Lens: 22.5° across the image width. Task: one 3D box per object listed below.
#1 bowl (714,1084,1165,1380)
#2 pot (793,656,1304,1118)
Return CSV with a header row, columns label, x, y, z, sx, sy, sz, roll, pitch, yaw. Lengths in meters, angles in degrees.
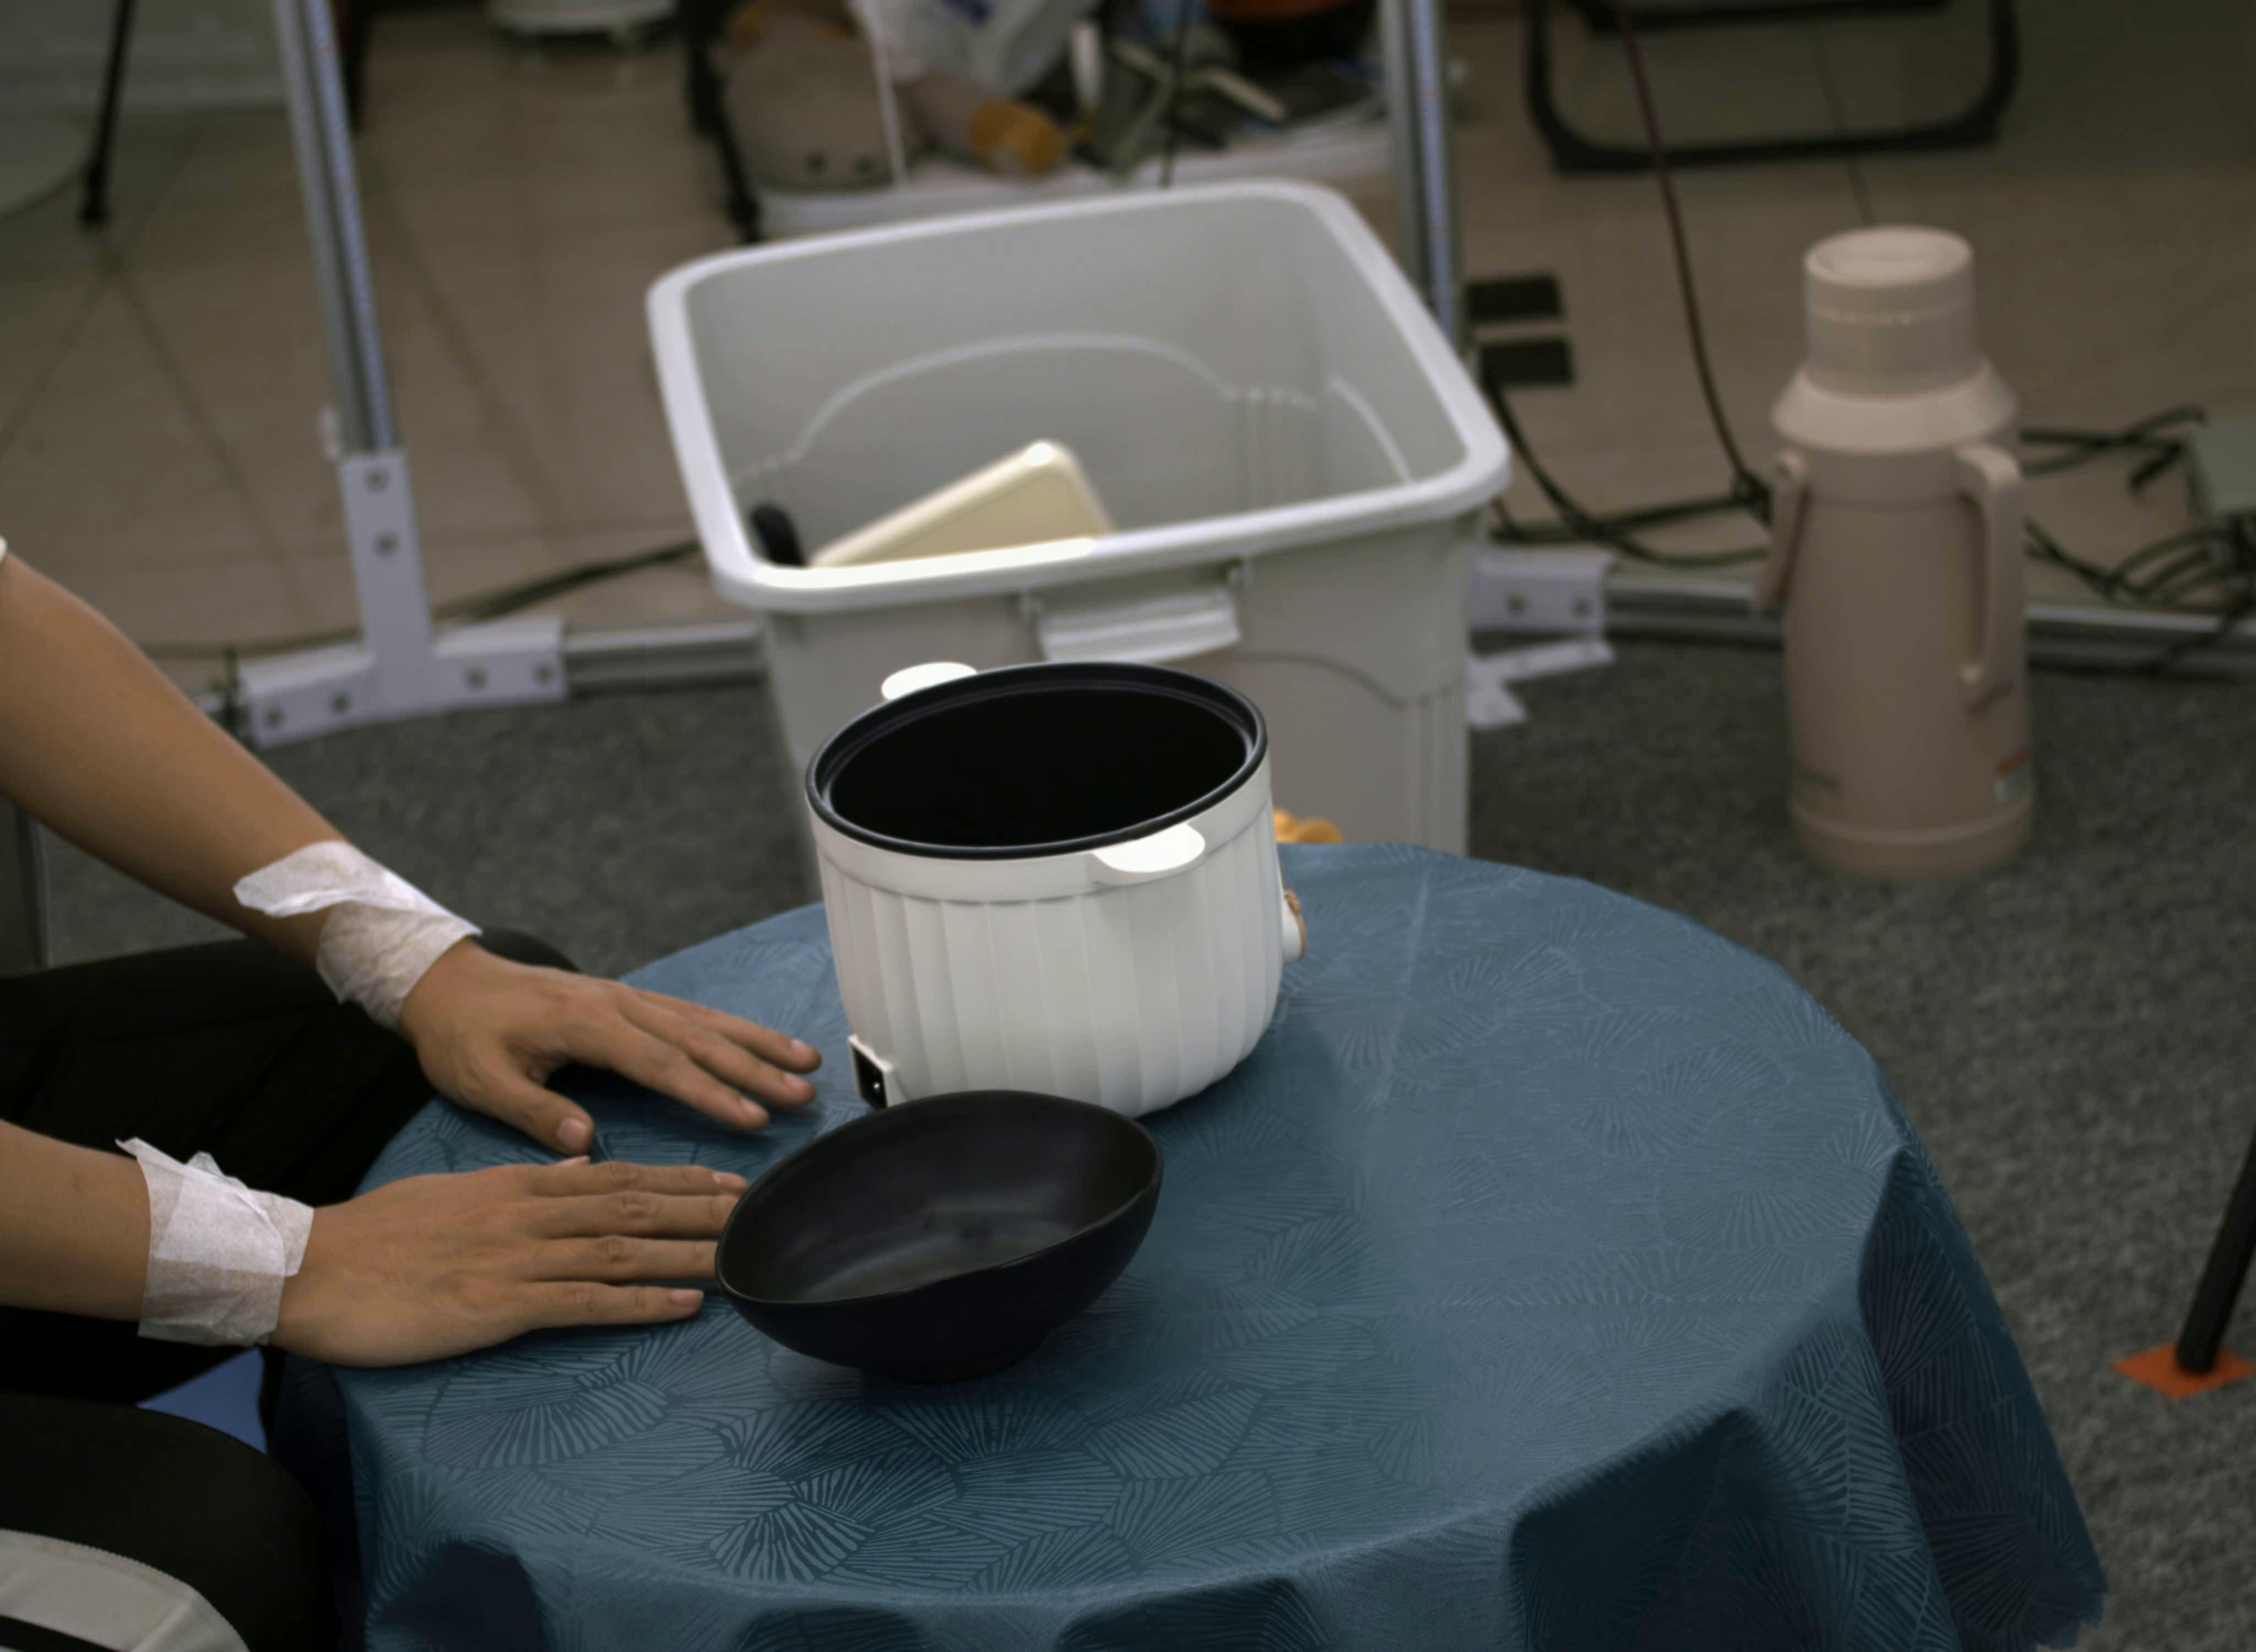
label,x,y,z,sx,sy,sz,roll,pitch,yaw
bowl,-0.064,0.157,2.051,0.169,0.068,0.136,-18,27,-22
pot,-0.026,0.029,2.227,0.189,0.145,0.237,-21,29,-20
